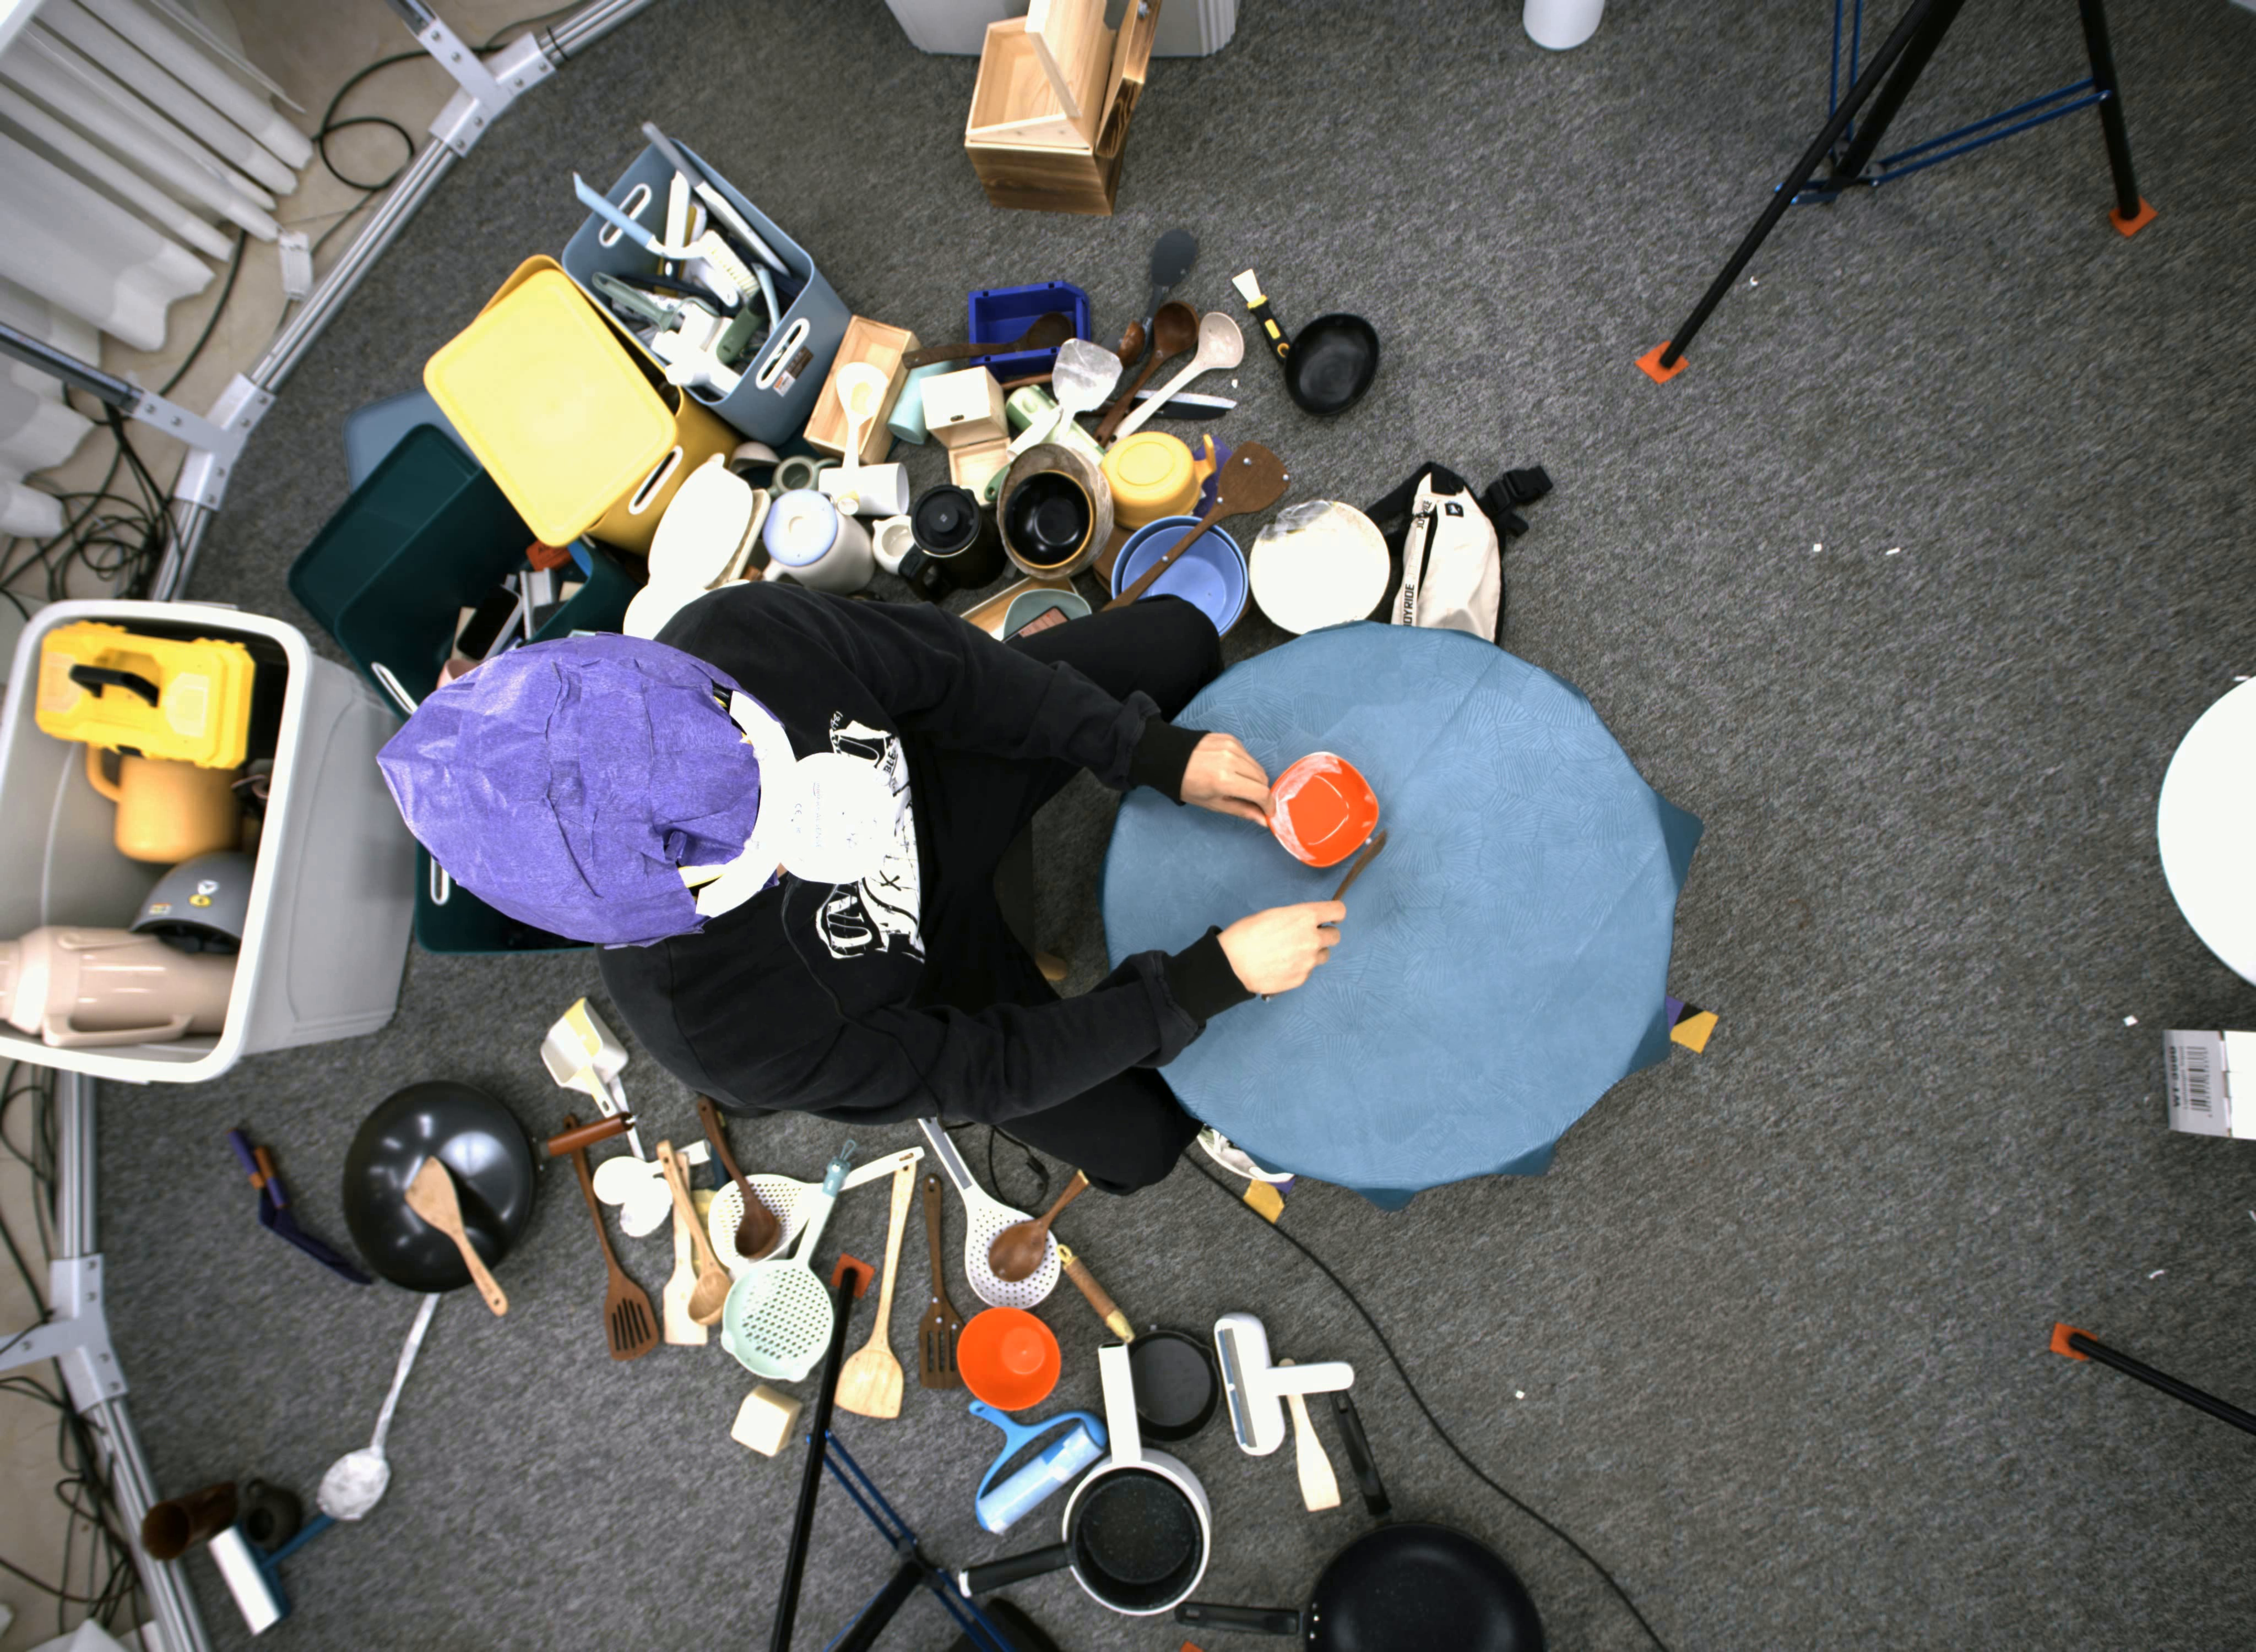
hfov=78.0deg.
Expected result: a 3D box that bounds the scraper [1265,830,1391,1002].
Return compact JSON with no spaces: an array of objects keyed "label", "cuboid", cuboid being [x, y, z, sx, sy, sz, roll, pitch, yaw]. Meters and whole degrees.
[{"label":"scraper","cuboid":[0.196,0.088,1.366,0.011,0.077,0.209,35,77,13]}]

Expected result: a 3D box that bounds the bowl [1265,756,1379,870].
[{"label":"bowl","cuboid":[0.200,-0.014,1.450,0.119,0.051,0.119,0,93,-3]}]
